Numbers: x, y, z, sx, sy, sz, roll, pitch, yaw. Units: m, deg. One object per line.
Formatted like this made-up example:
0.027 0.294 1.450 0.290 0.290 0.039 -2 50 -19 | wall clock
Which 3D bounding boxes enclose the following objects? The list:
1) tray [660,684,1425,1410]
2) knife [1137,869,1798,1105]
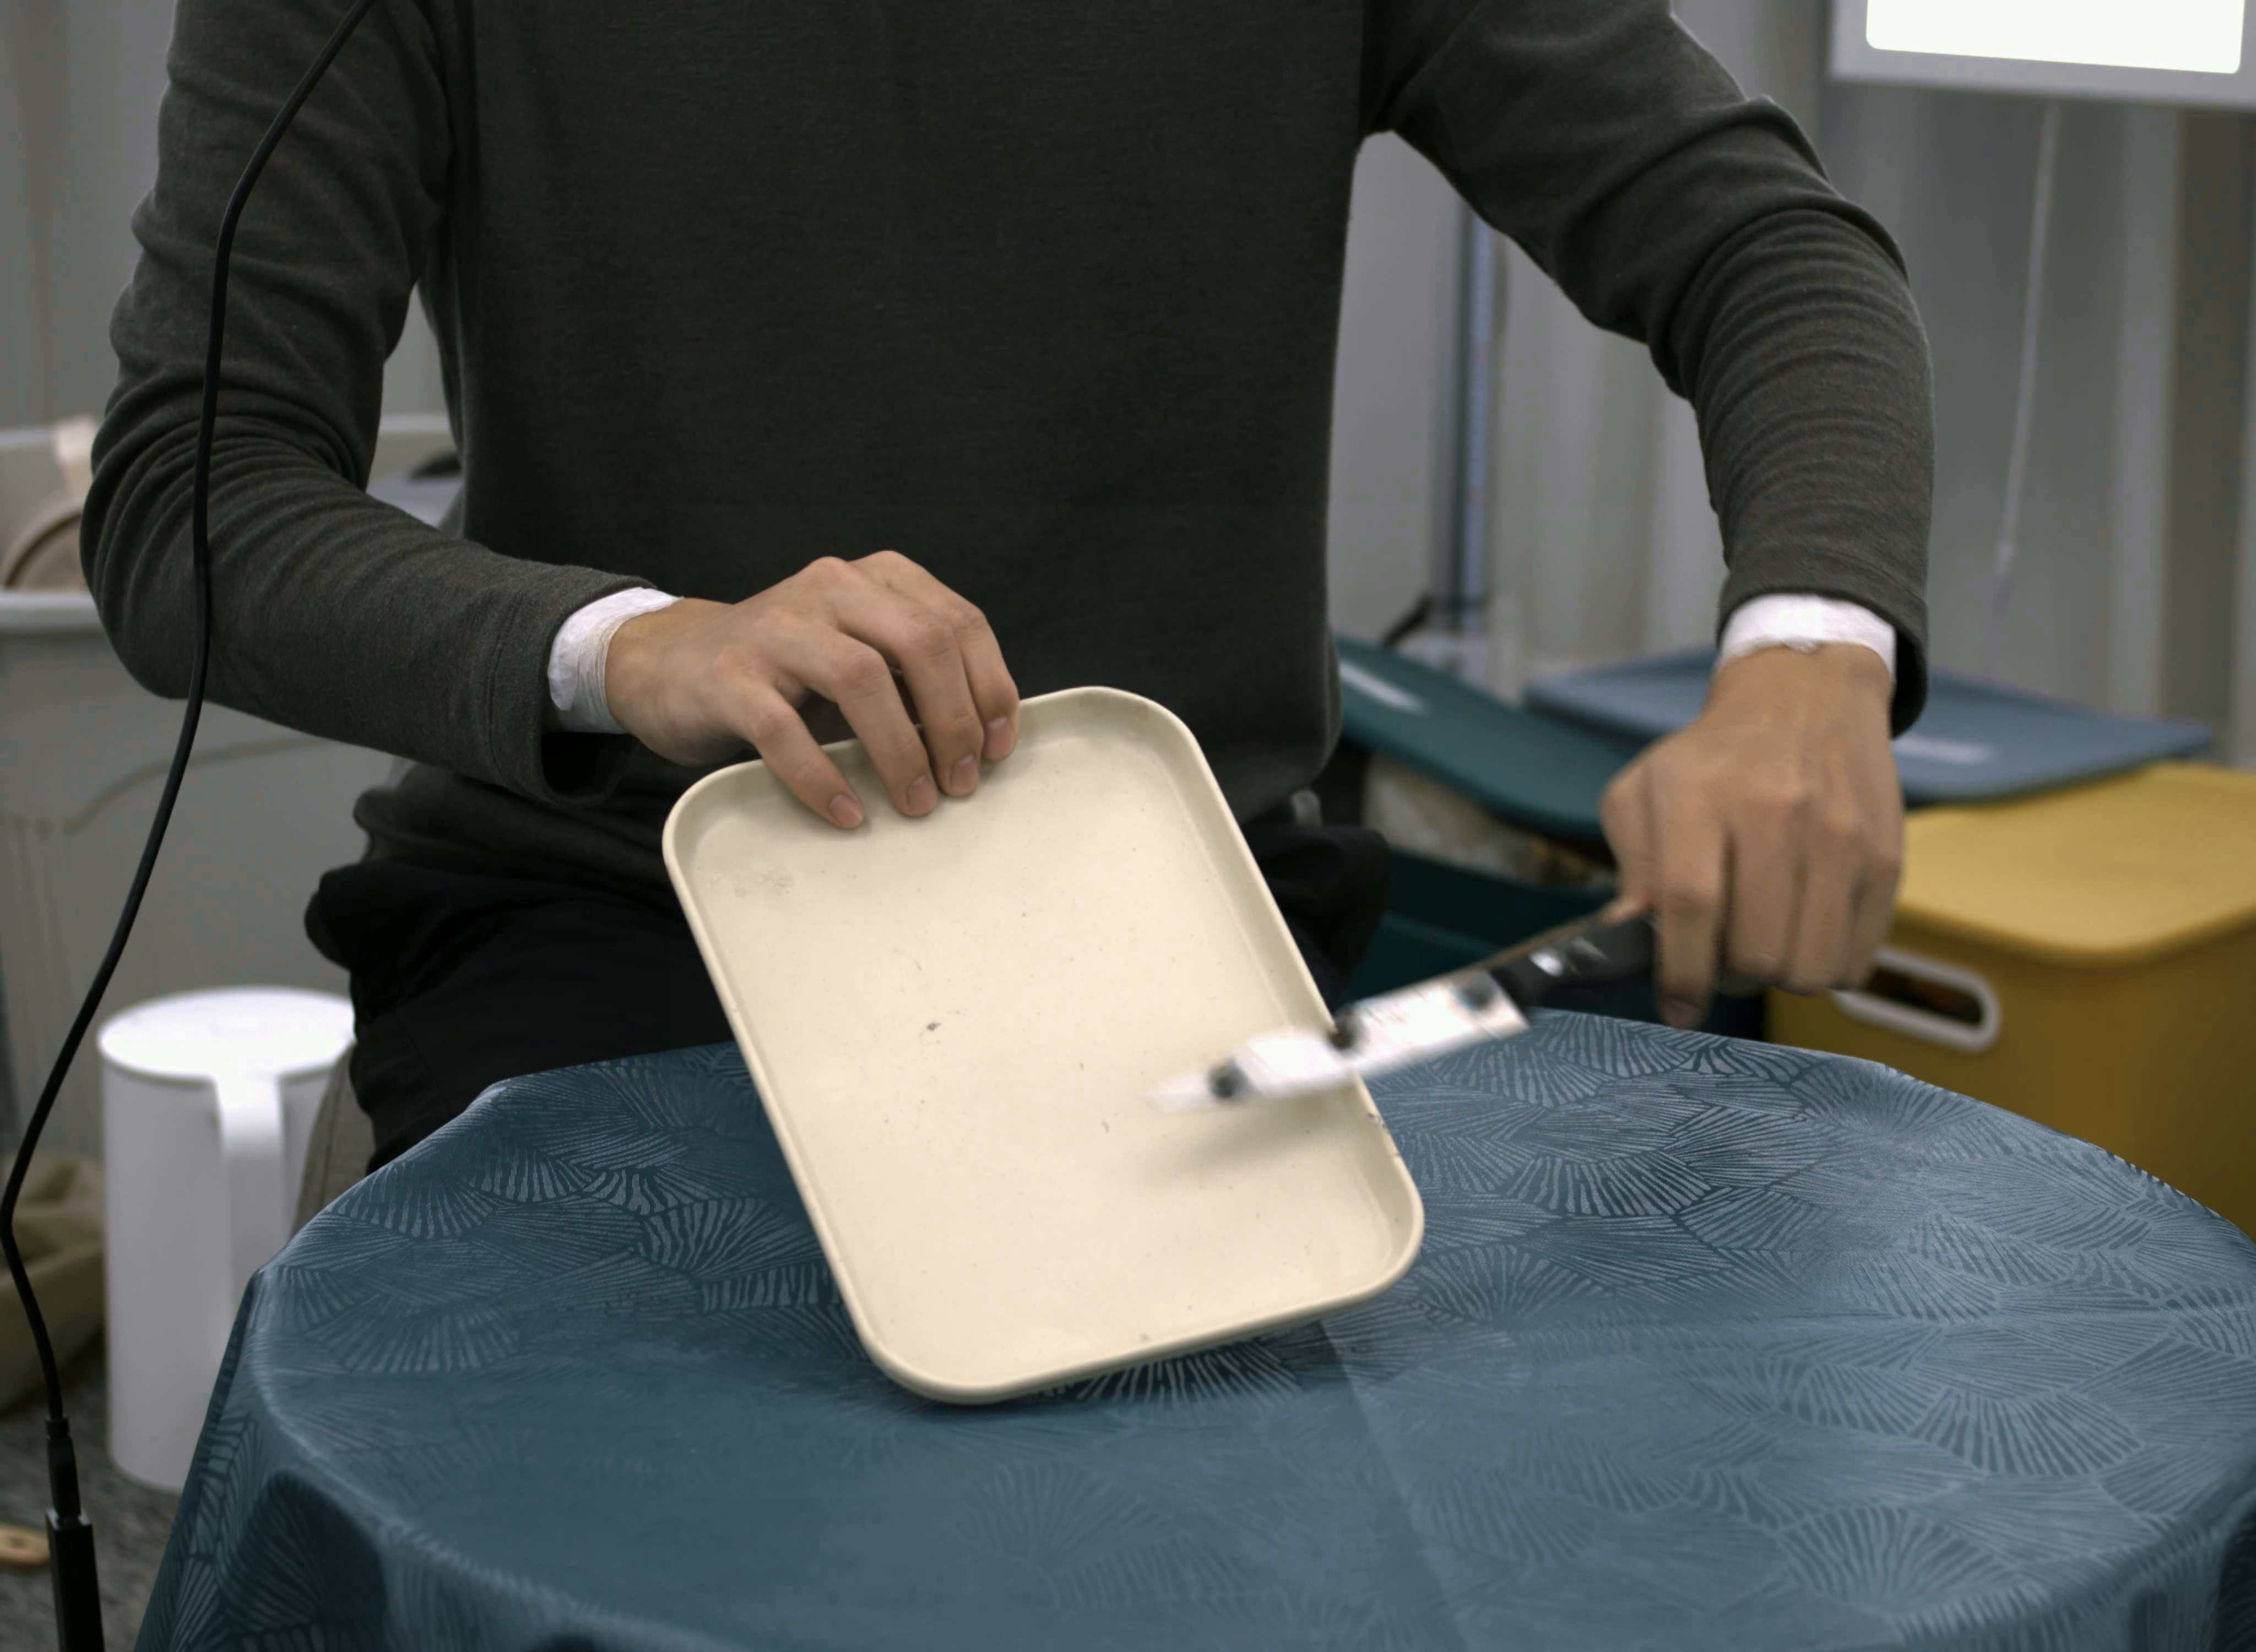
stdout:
-0.028 0.061 1.531 0.171 0.017 0.237 -13 54 -17 | tray
0.101 0.048 1.557 0.239 0.016 0.024 -16 53 -30 | knife
